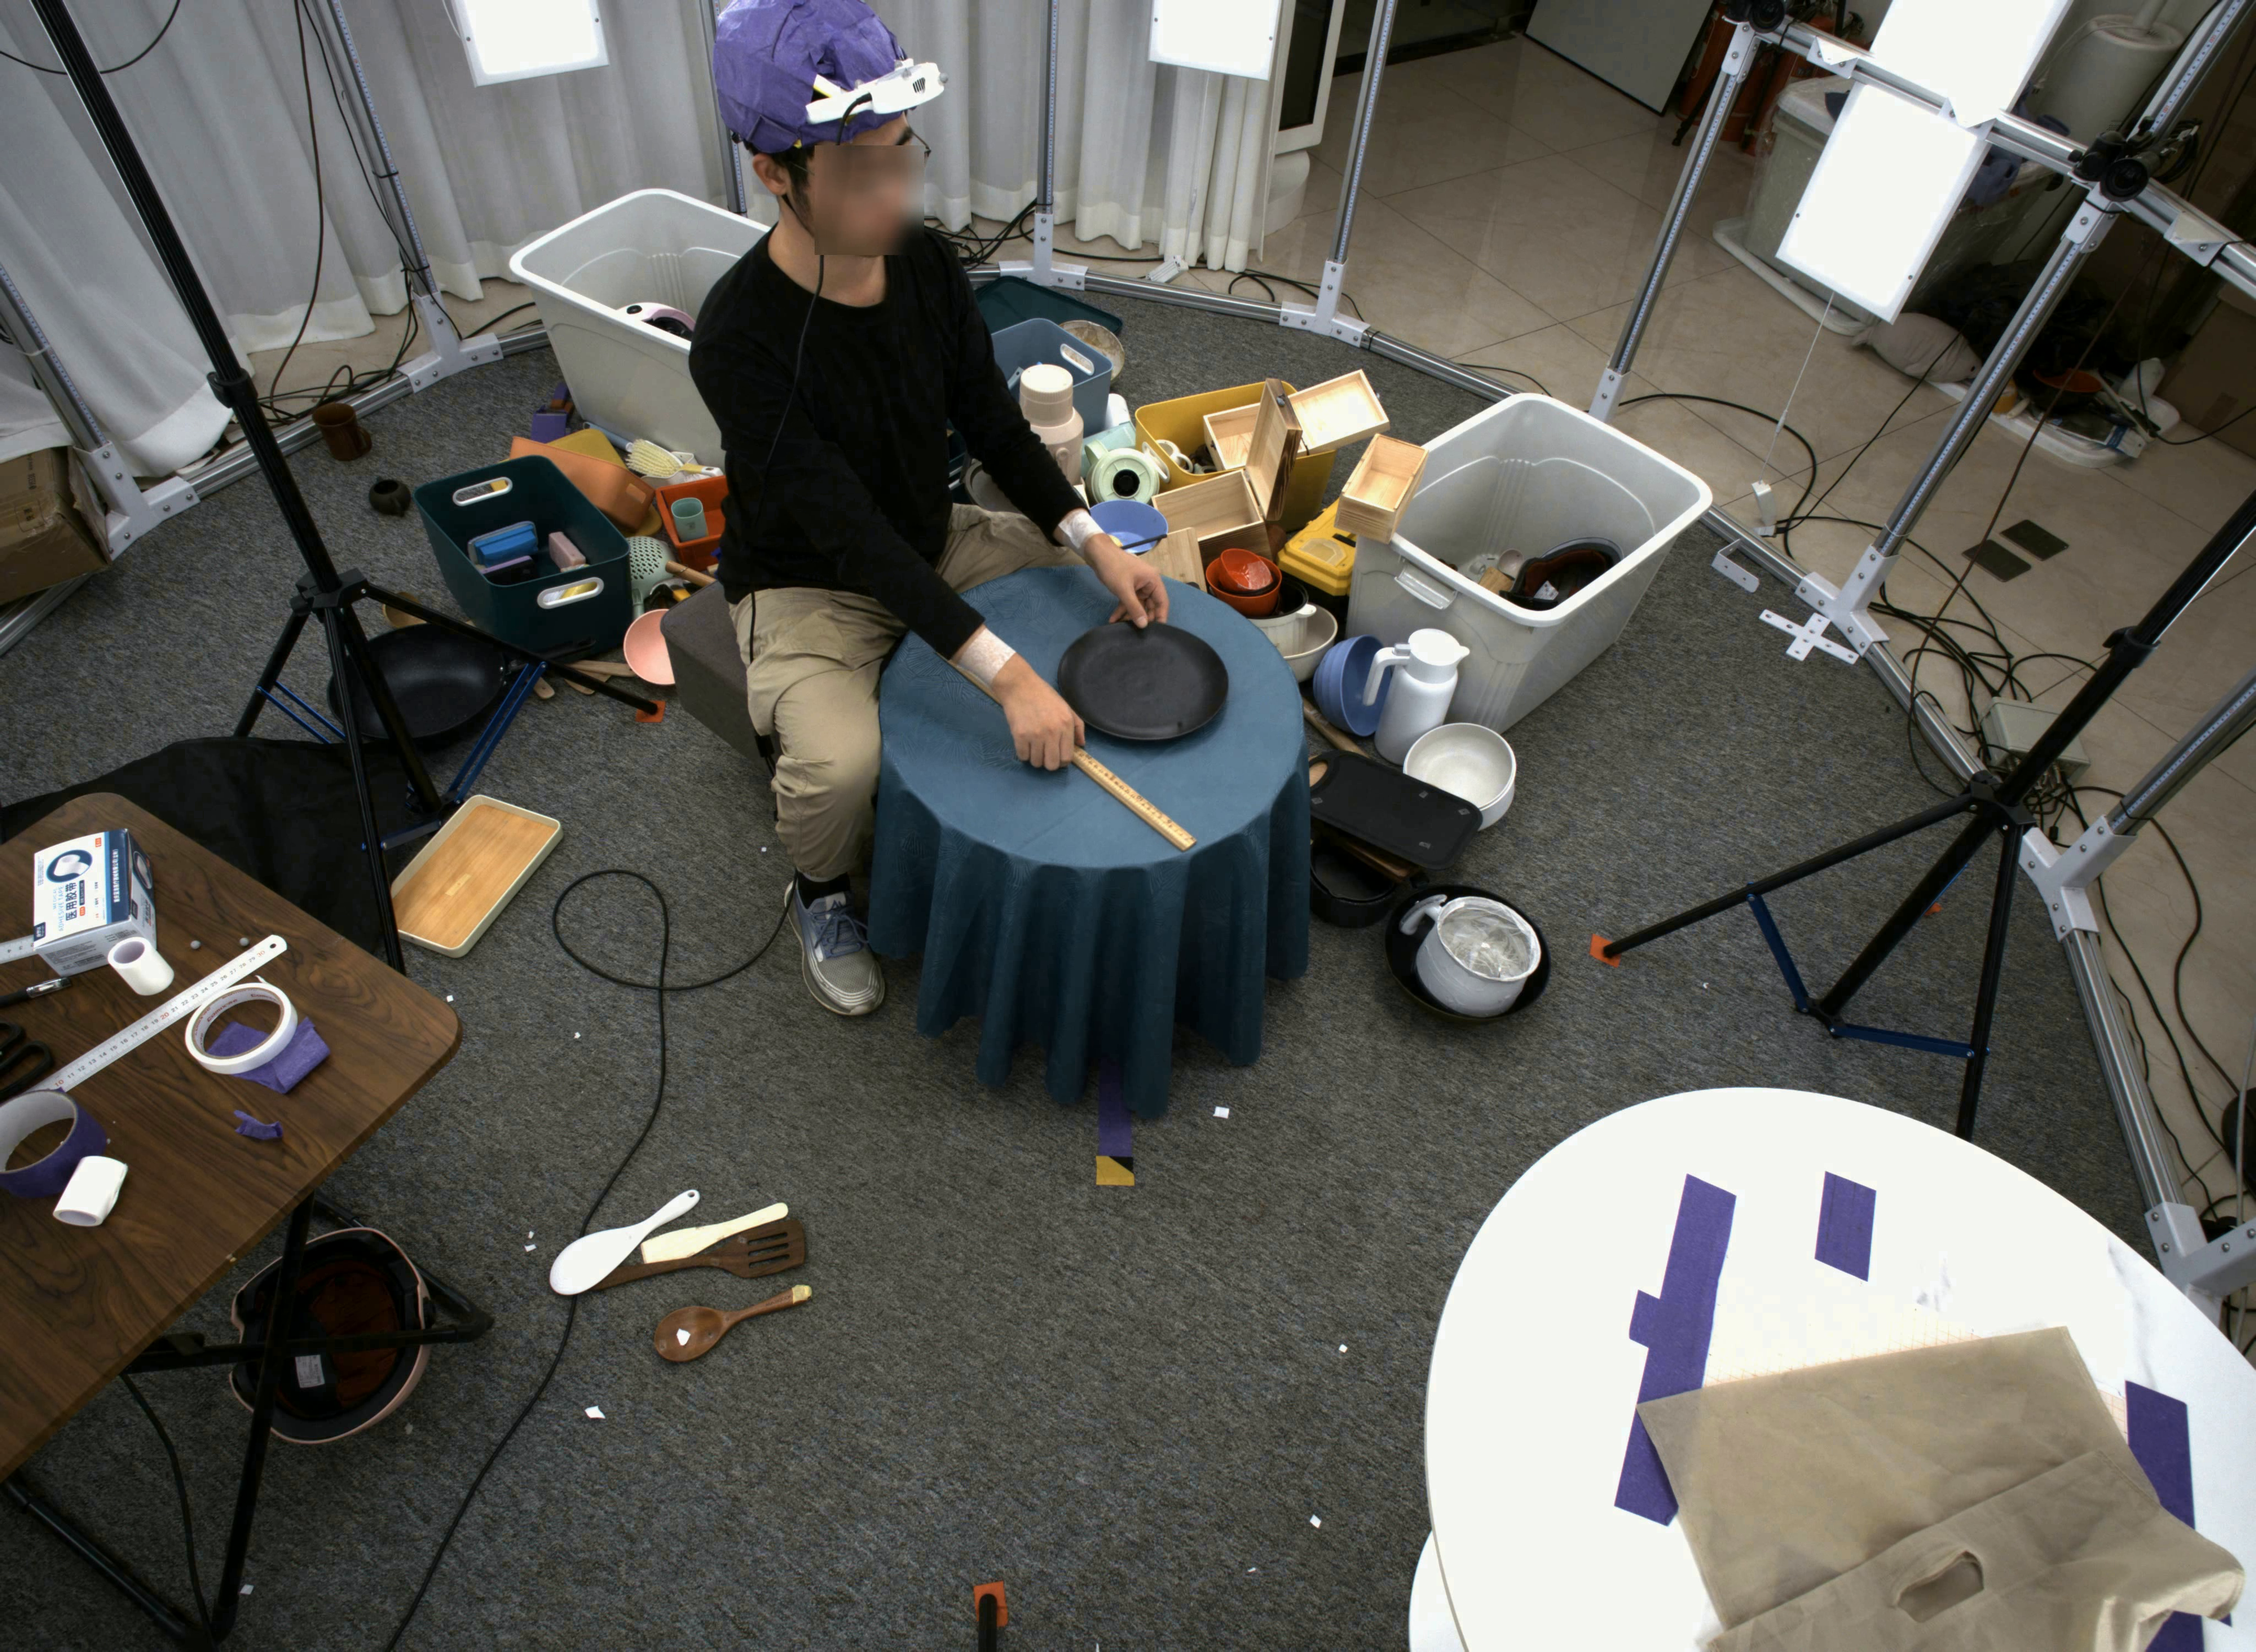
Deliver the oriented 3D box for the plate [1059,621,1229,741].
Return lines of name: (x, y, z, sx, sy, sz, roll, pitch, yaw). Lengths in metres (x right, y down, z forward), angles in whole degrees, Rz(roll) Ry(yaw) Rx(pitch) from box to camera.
plate: (0.022, -0.206, 1.835, 0.244, 0.023, 0.250, 2, 49, -2)

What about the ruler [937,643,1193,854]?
ruler: (-0.096, -0.116, 1.761, 0.027, 0.006, 0.508, -31, 58, -32)
